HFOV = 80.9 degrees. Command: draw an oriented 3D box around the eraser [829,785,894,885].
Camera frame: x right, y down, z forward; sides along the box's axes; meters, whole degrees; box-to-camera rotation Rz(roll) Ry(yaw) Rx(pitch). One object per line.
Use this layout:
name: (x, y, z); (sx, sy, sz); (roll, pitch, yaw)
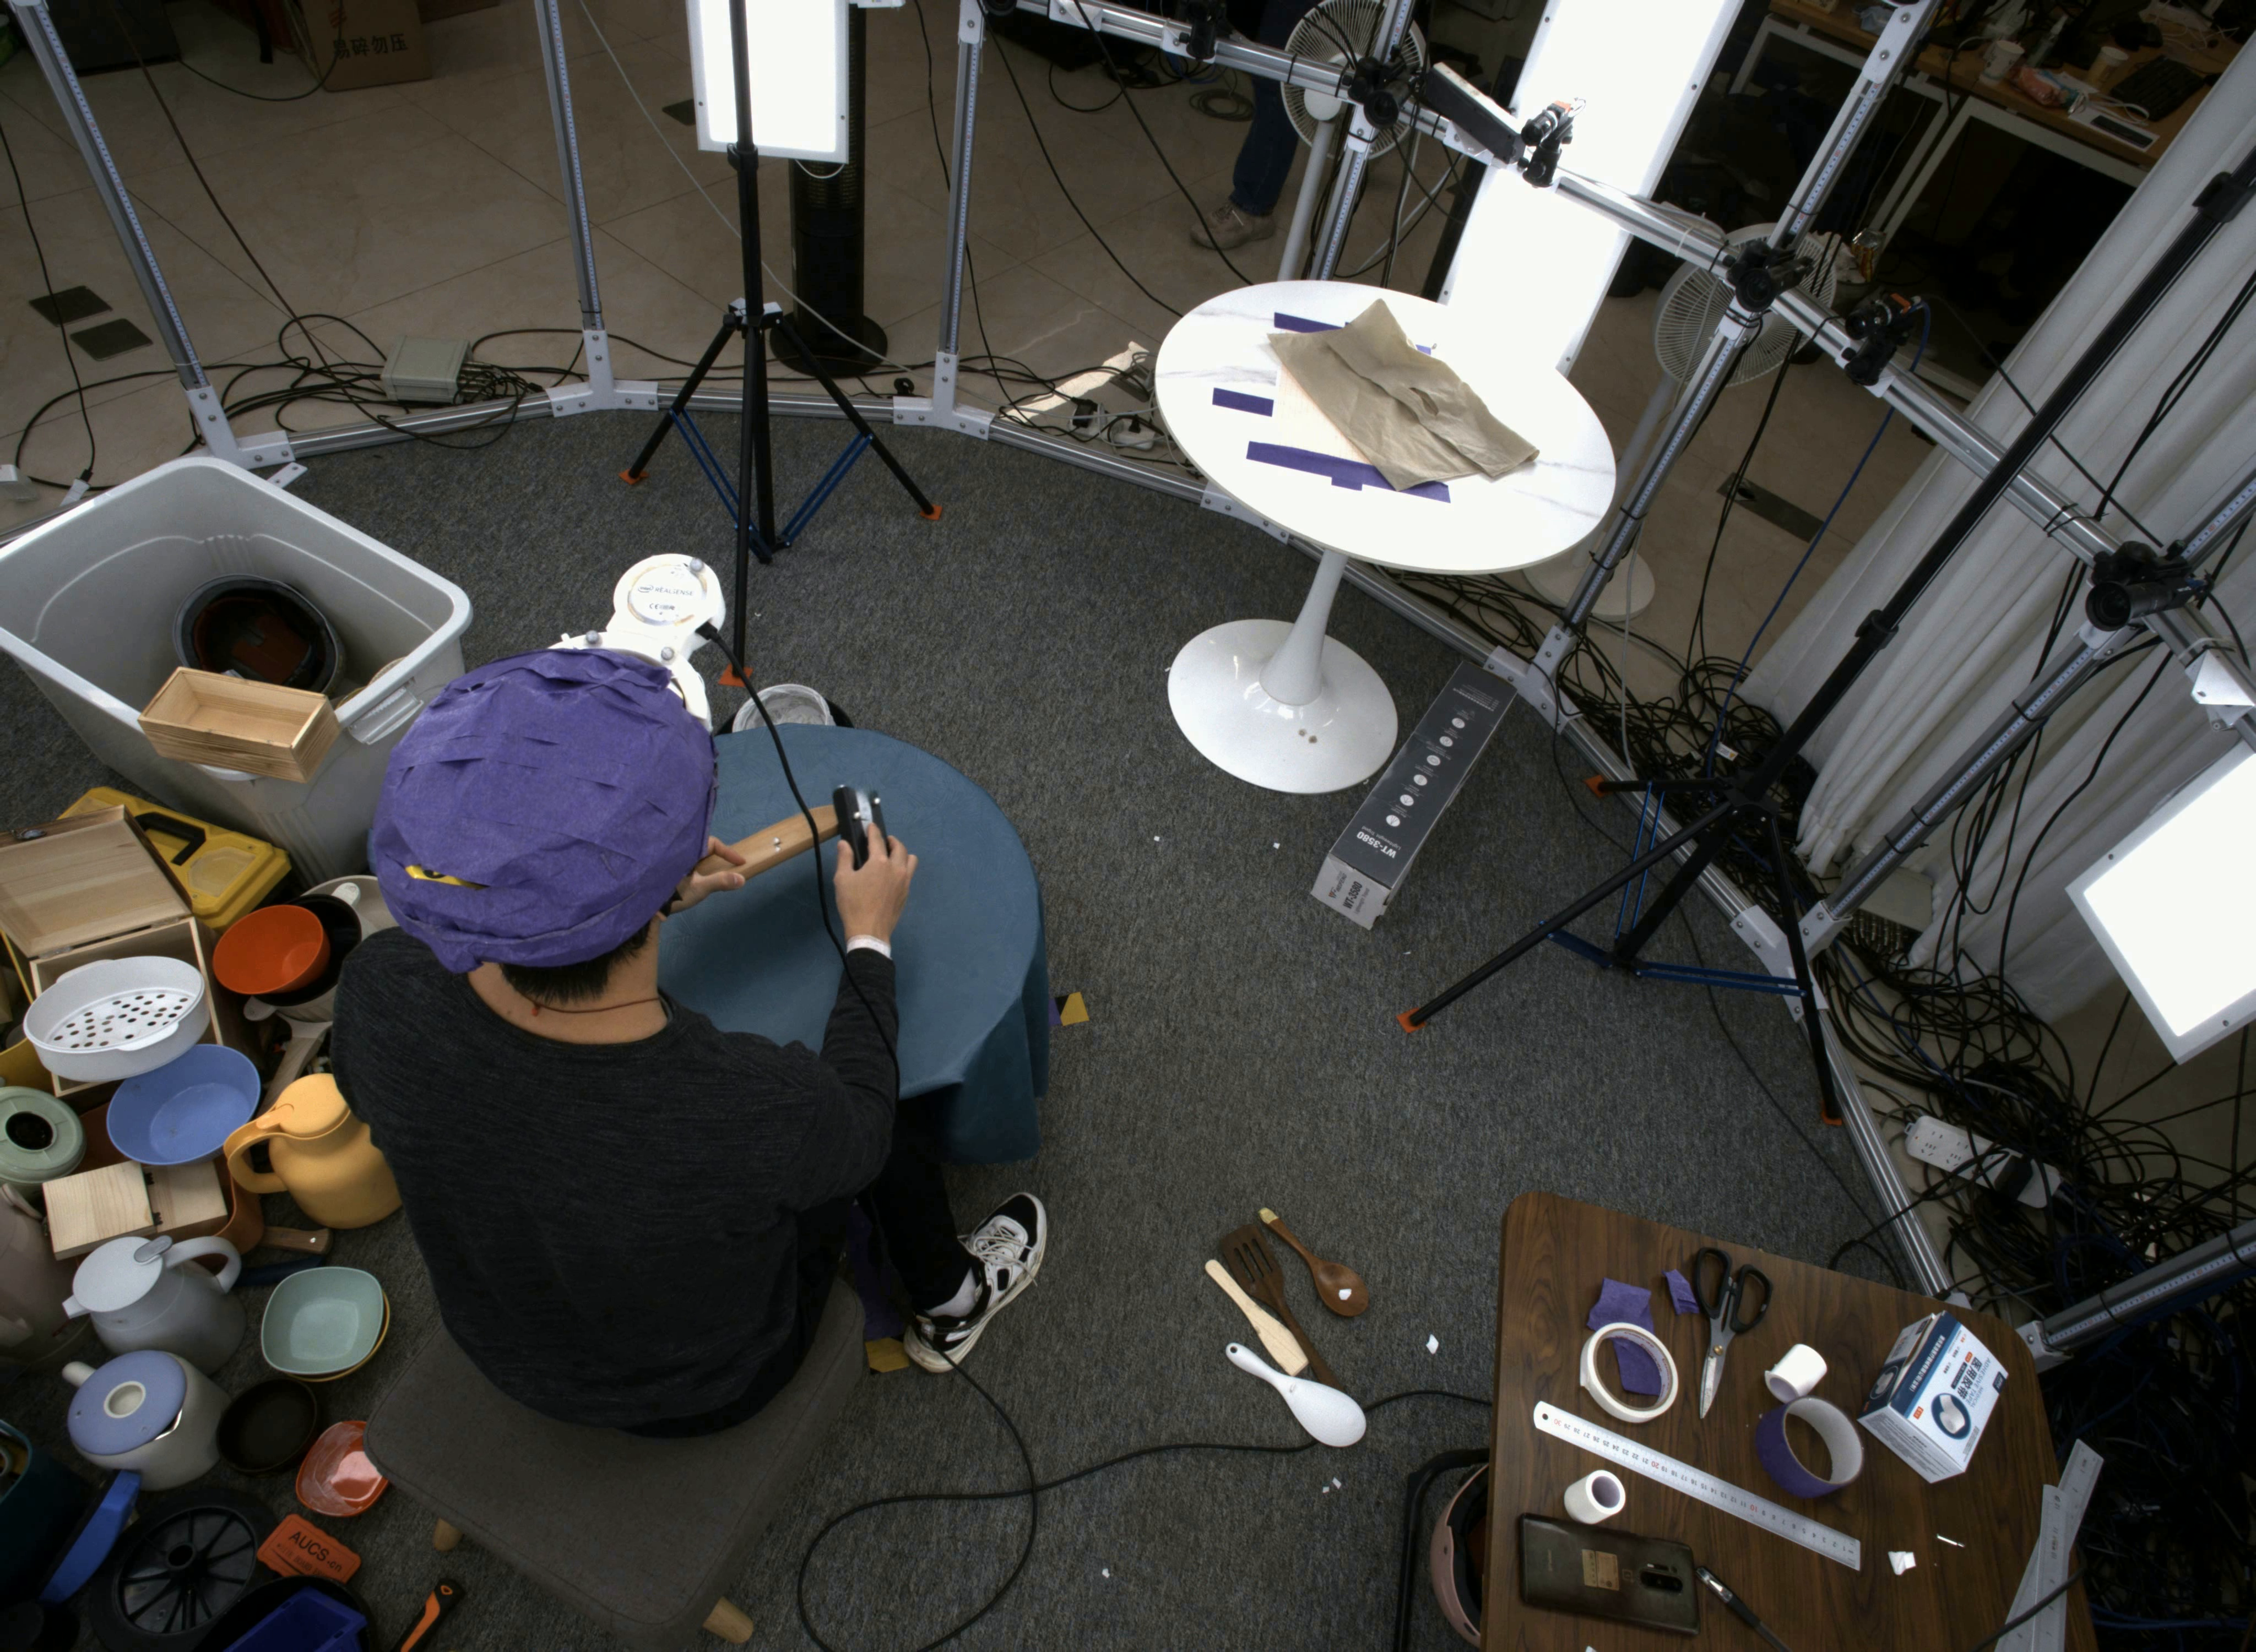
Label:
eraser: (-0.323, 0.009, 1.569); (0.054, 0.030, 0.123); (4, 59, -42)

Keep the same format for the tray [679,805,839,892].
tray: (-0.434, 0.024, 1.562); (0.098, 0.021, 0.232); (7, 29, 43)
